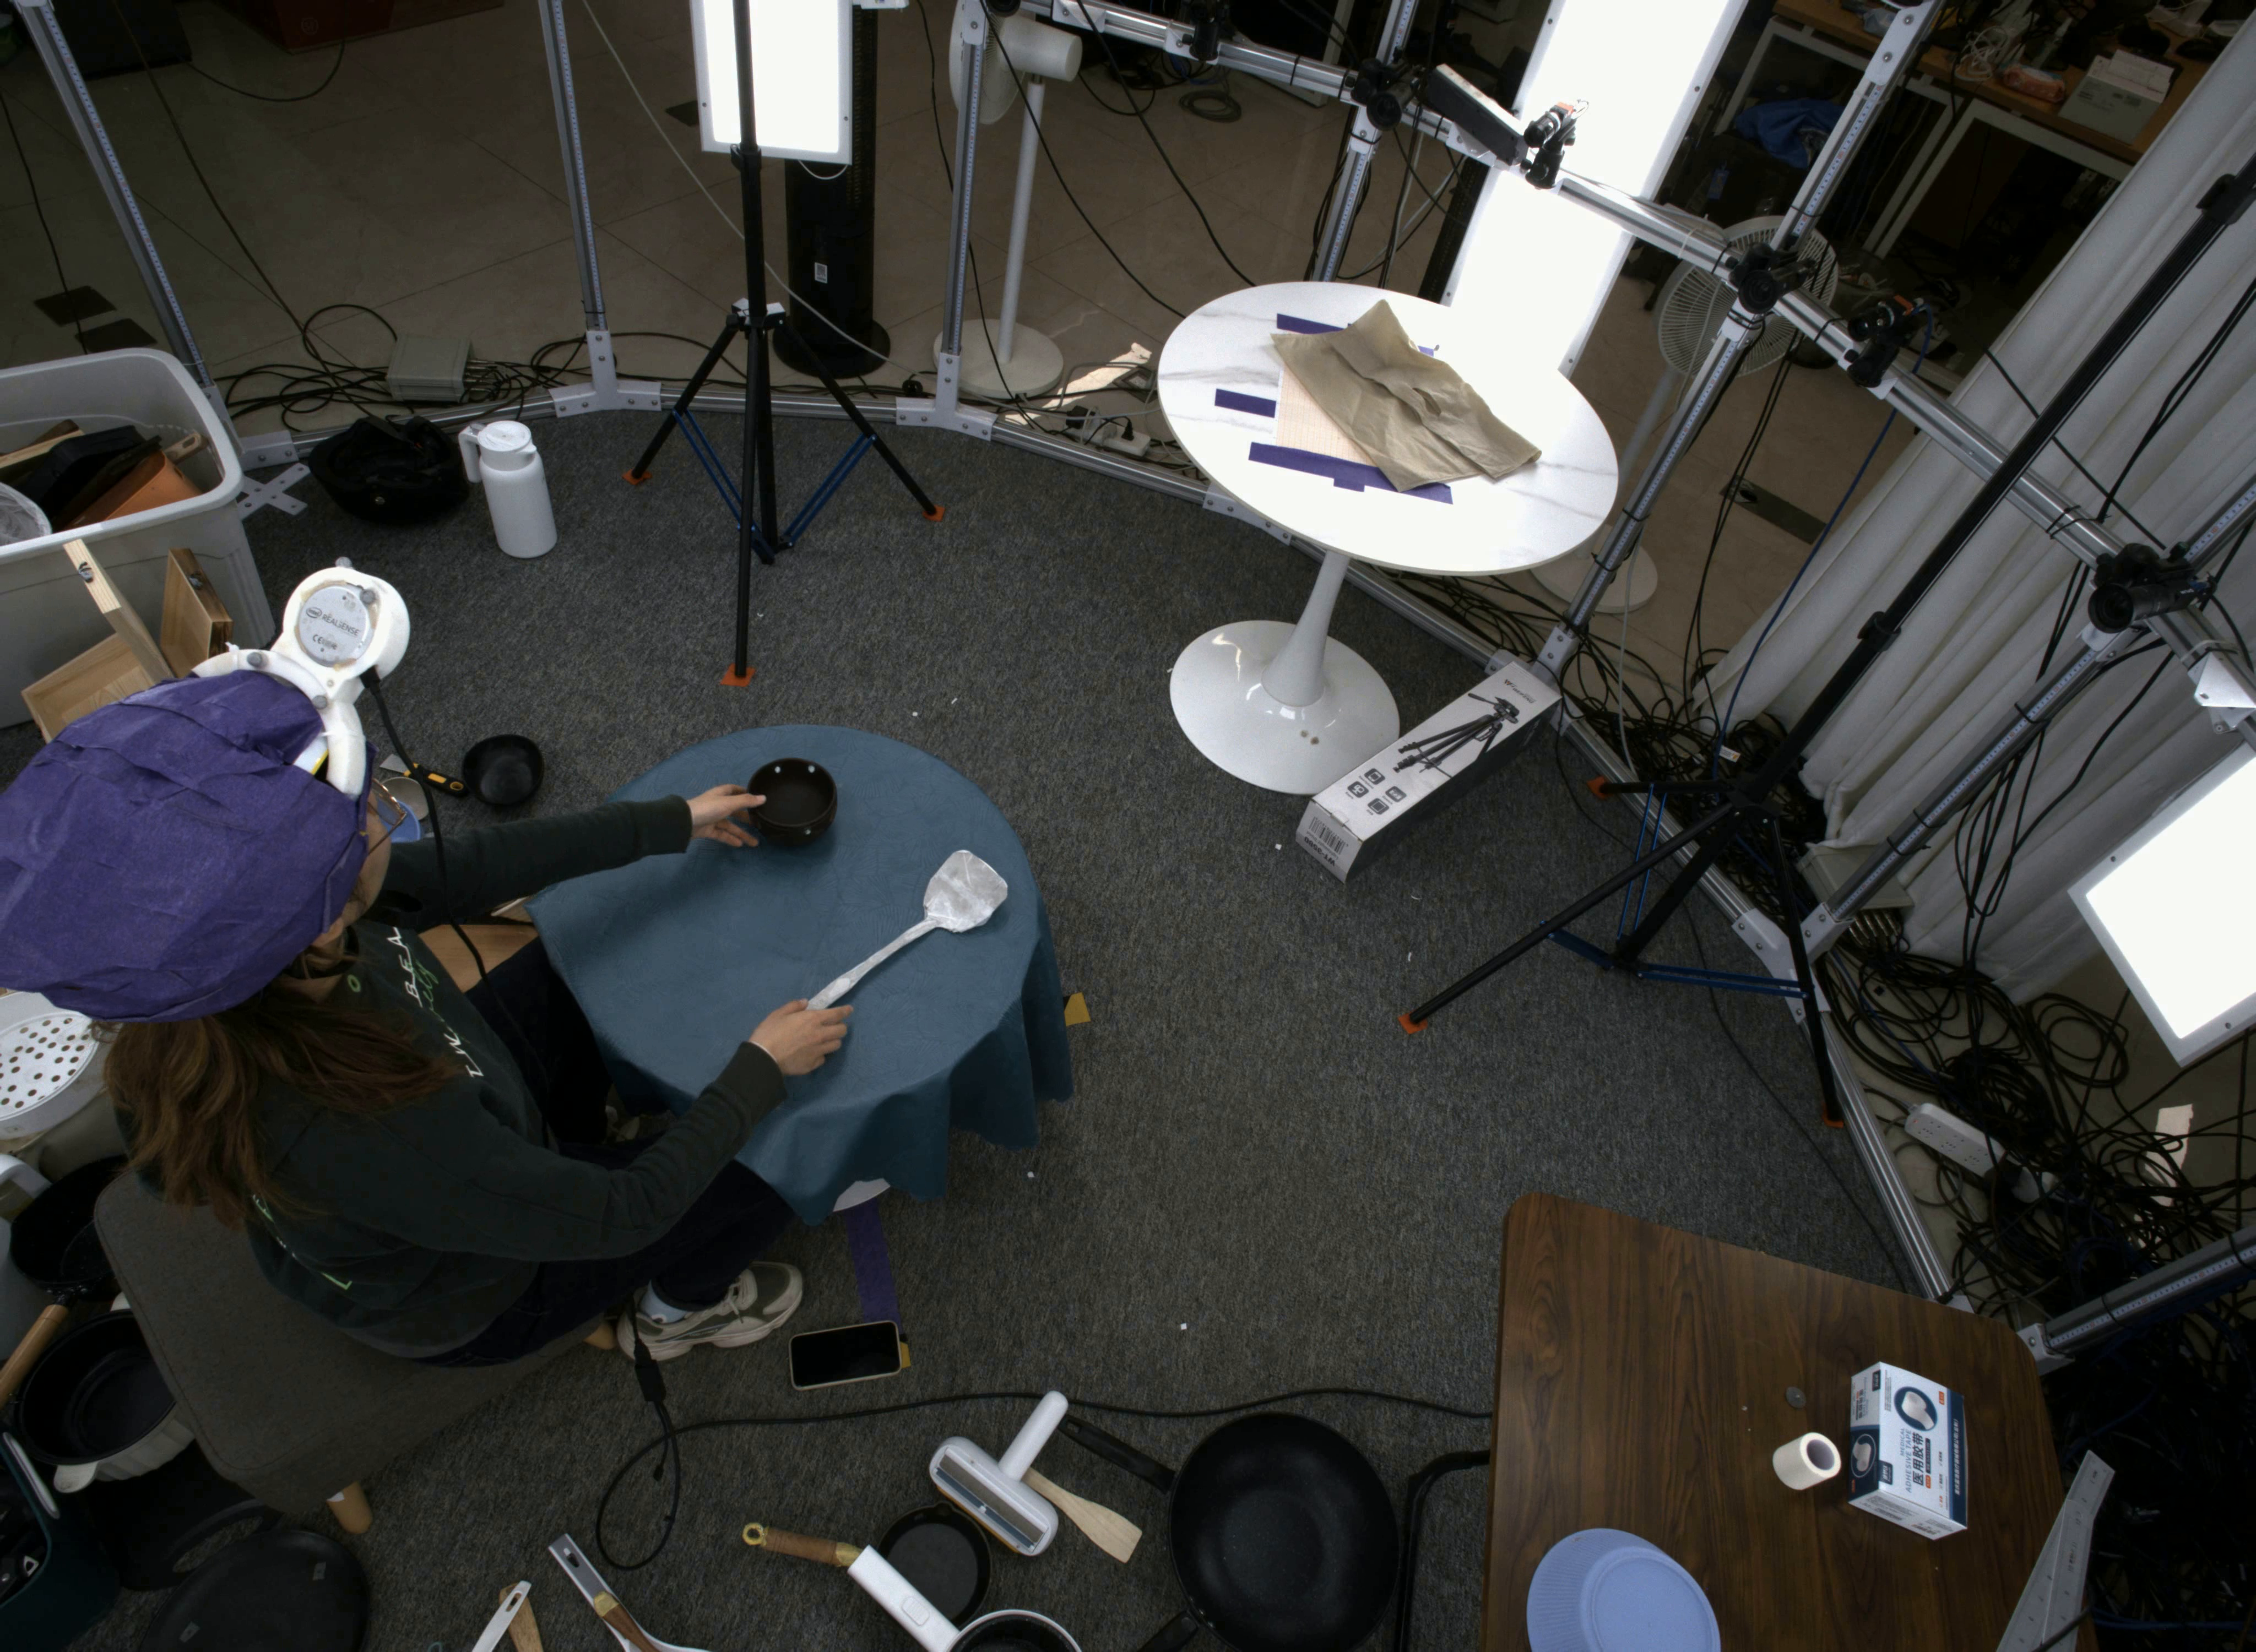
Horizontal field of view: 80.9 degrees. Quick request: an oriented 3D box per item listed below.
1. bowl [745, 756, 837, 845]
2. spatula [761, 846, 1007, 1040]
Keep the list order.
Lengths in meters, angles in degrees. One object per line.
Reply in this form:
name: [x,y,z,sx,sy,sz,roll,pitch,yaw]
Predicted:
bowl: [-0.440,-0.026,1.698,0.117,0.071,0.116,6,52,-6]
spatula: [-0.305,0.151,1.622,0.097,0.045,0.365,42,55,16]
